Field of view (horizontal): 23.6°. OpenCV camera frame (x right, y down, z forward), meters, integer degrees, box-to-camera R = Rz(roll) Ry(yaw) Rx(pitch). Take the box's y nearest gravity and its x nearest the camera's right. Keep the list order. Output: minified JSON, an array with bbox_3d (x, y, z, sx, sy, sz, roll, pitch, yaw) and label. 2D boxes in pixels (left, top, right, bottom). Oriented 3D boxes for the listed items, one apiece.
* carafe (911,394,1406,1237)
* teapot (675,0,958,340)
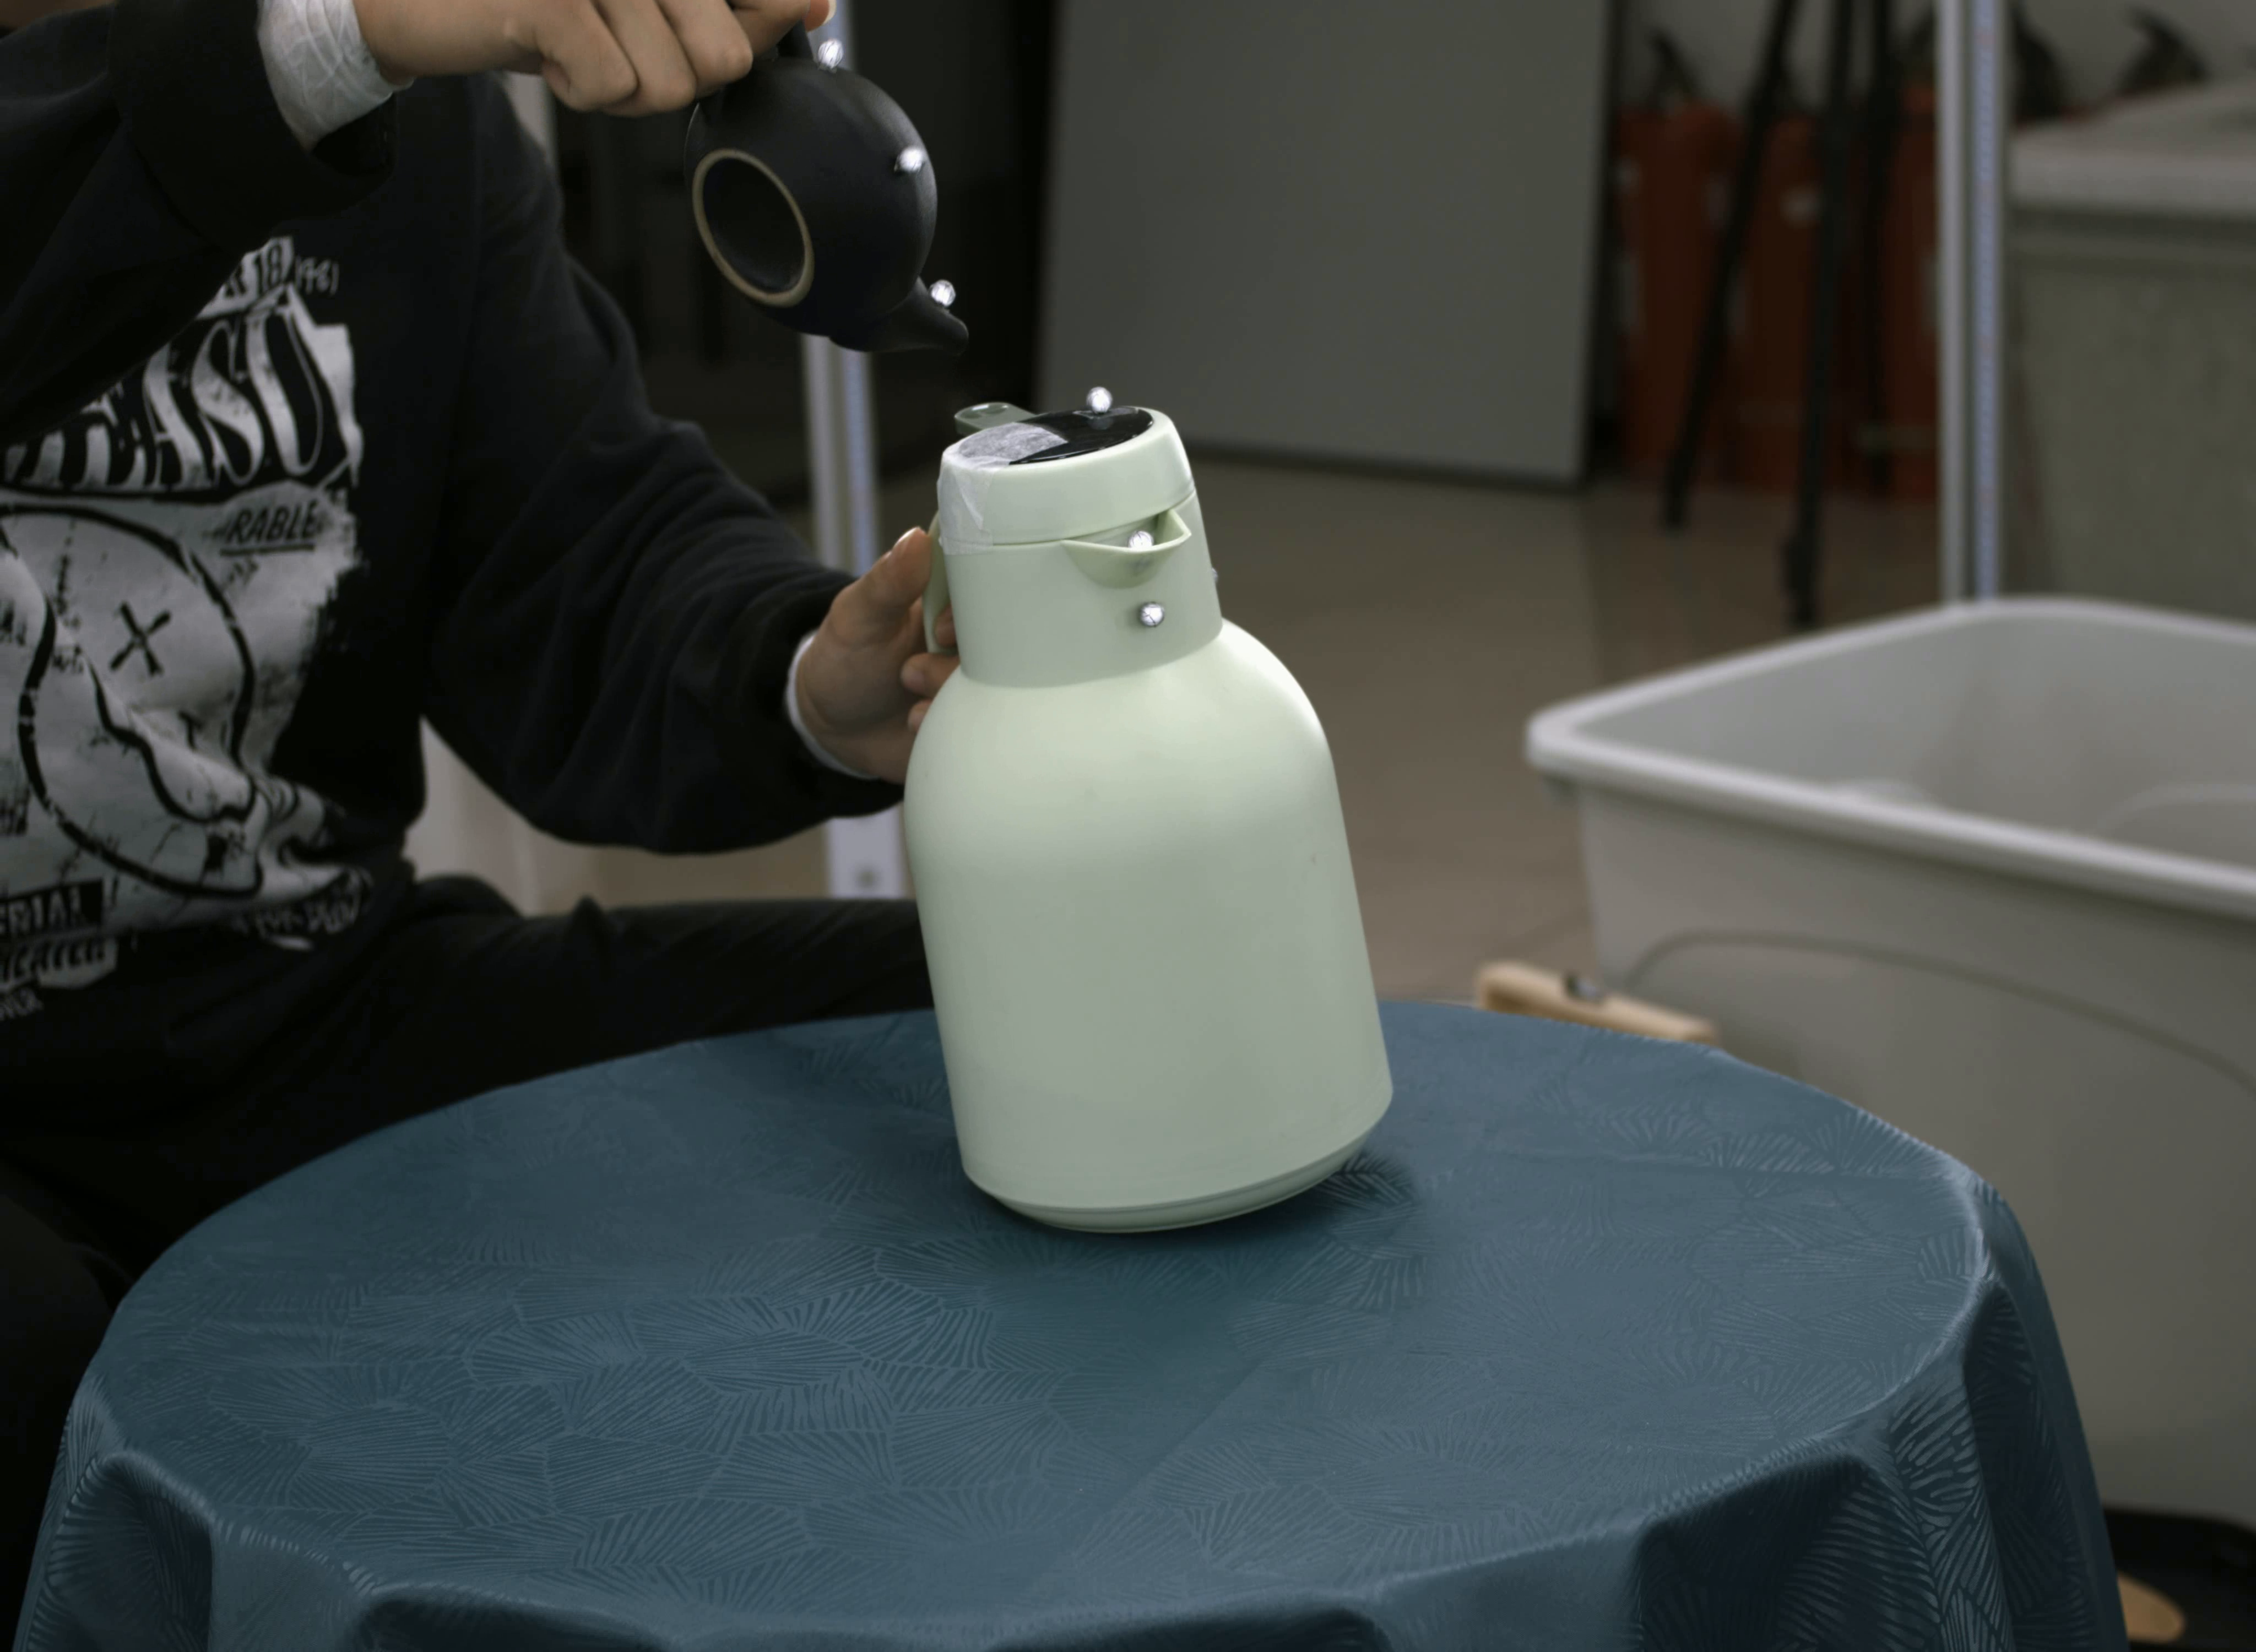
[{"bbox_3d":[-0.007,-0.010,1.757,0.141,0.259,0.188,-19,14,-21],"label":"carafe"},{"bbox_3d":[-0.101,-0.202,1.677,0.052,0.134,0.092,-32,7,-36],"label":"teapot"}]
